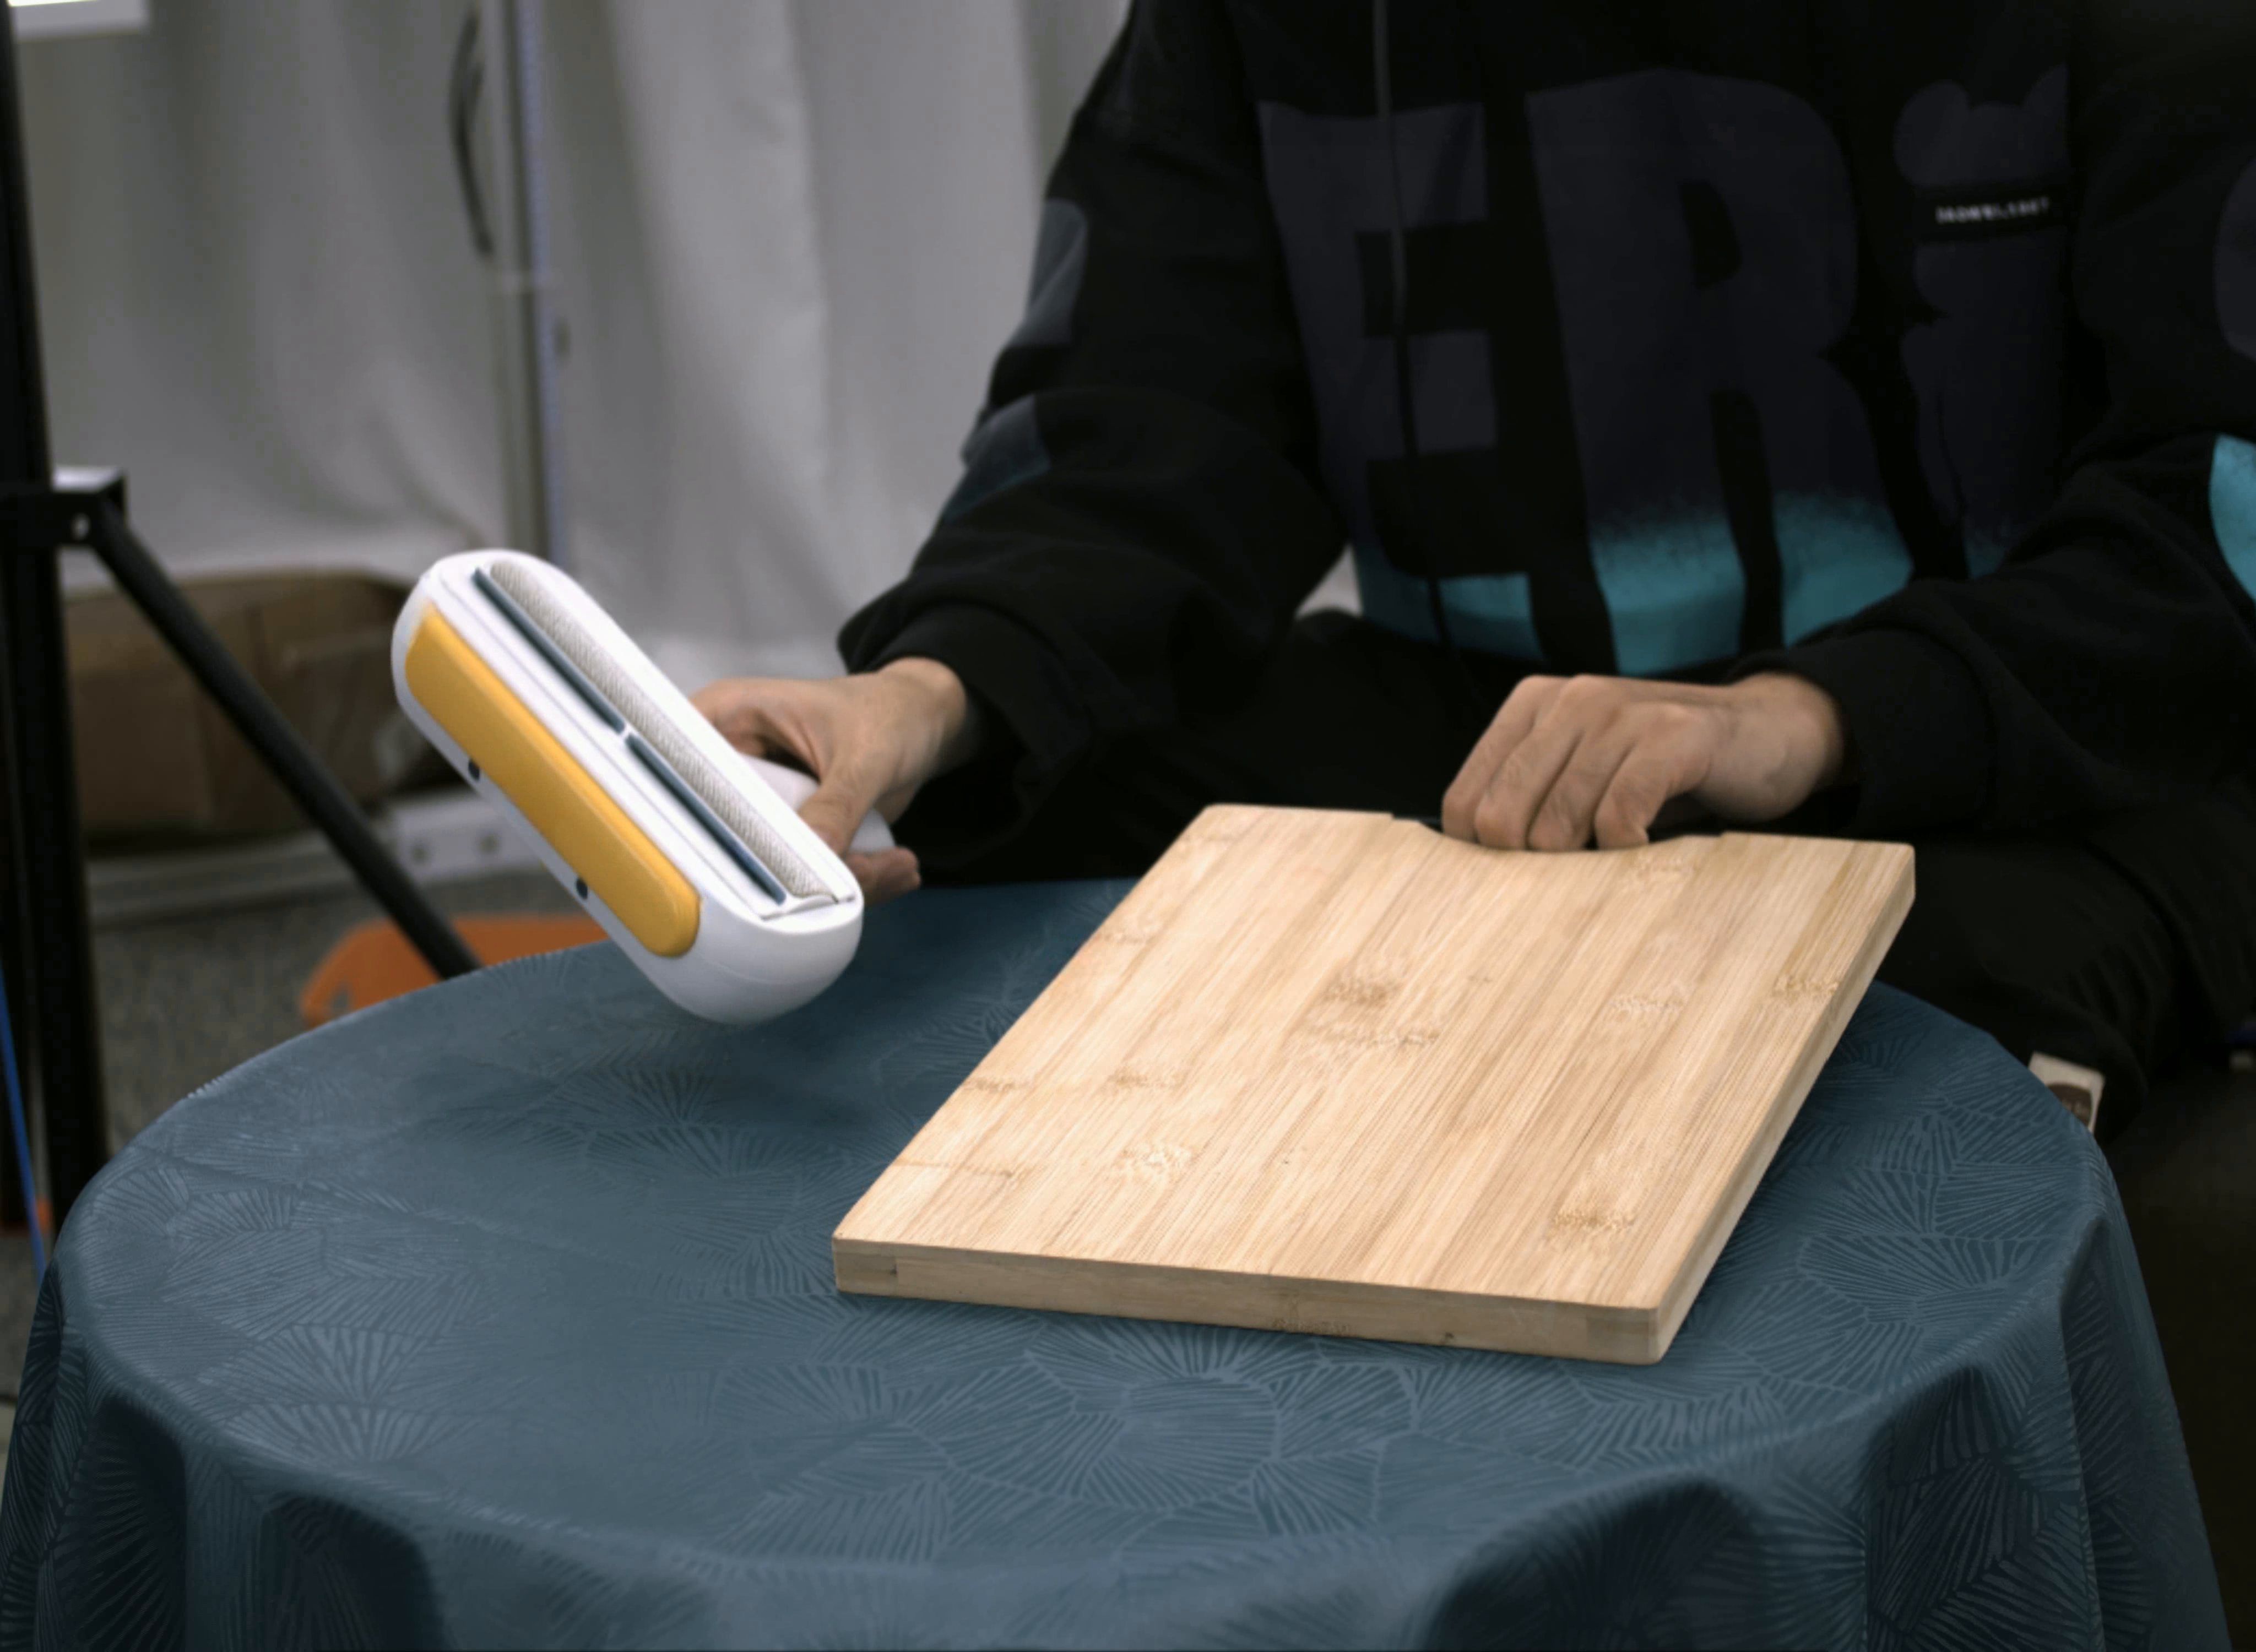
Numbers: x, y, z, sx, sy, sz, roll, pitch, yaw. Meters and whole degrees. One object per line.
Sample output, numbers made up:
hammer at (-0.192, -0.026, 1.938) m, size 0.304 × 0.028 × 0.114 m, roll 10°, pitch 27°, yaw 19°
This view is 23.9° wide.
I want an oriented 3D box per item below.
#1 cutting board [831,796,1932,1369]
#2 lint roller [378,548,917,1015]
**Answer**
cutting board at (0.086, 0.068, 1.595) m, size 0.253 × 0.023 × 0.345 m, roll 3°, pitch 23°, yaw 20°
lint roller at (-0.132, -0.009, 1.730) m, size 0.187 × 0.074 × 0.197 m, roll 1°, pitch 34°, yaw -50°
